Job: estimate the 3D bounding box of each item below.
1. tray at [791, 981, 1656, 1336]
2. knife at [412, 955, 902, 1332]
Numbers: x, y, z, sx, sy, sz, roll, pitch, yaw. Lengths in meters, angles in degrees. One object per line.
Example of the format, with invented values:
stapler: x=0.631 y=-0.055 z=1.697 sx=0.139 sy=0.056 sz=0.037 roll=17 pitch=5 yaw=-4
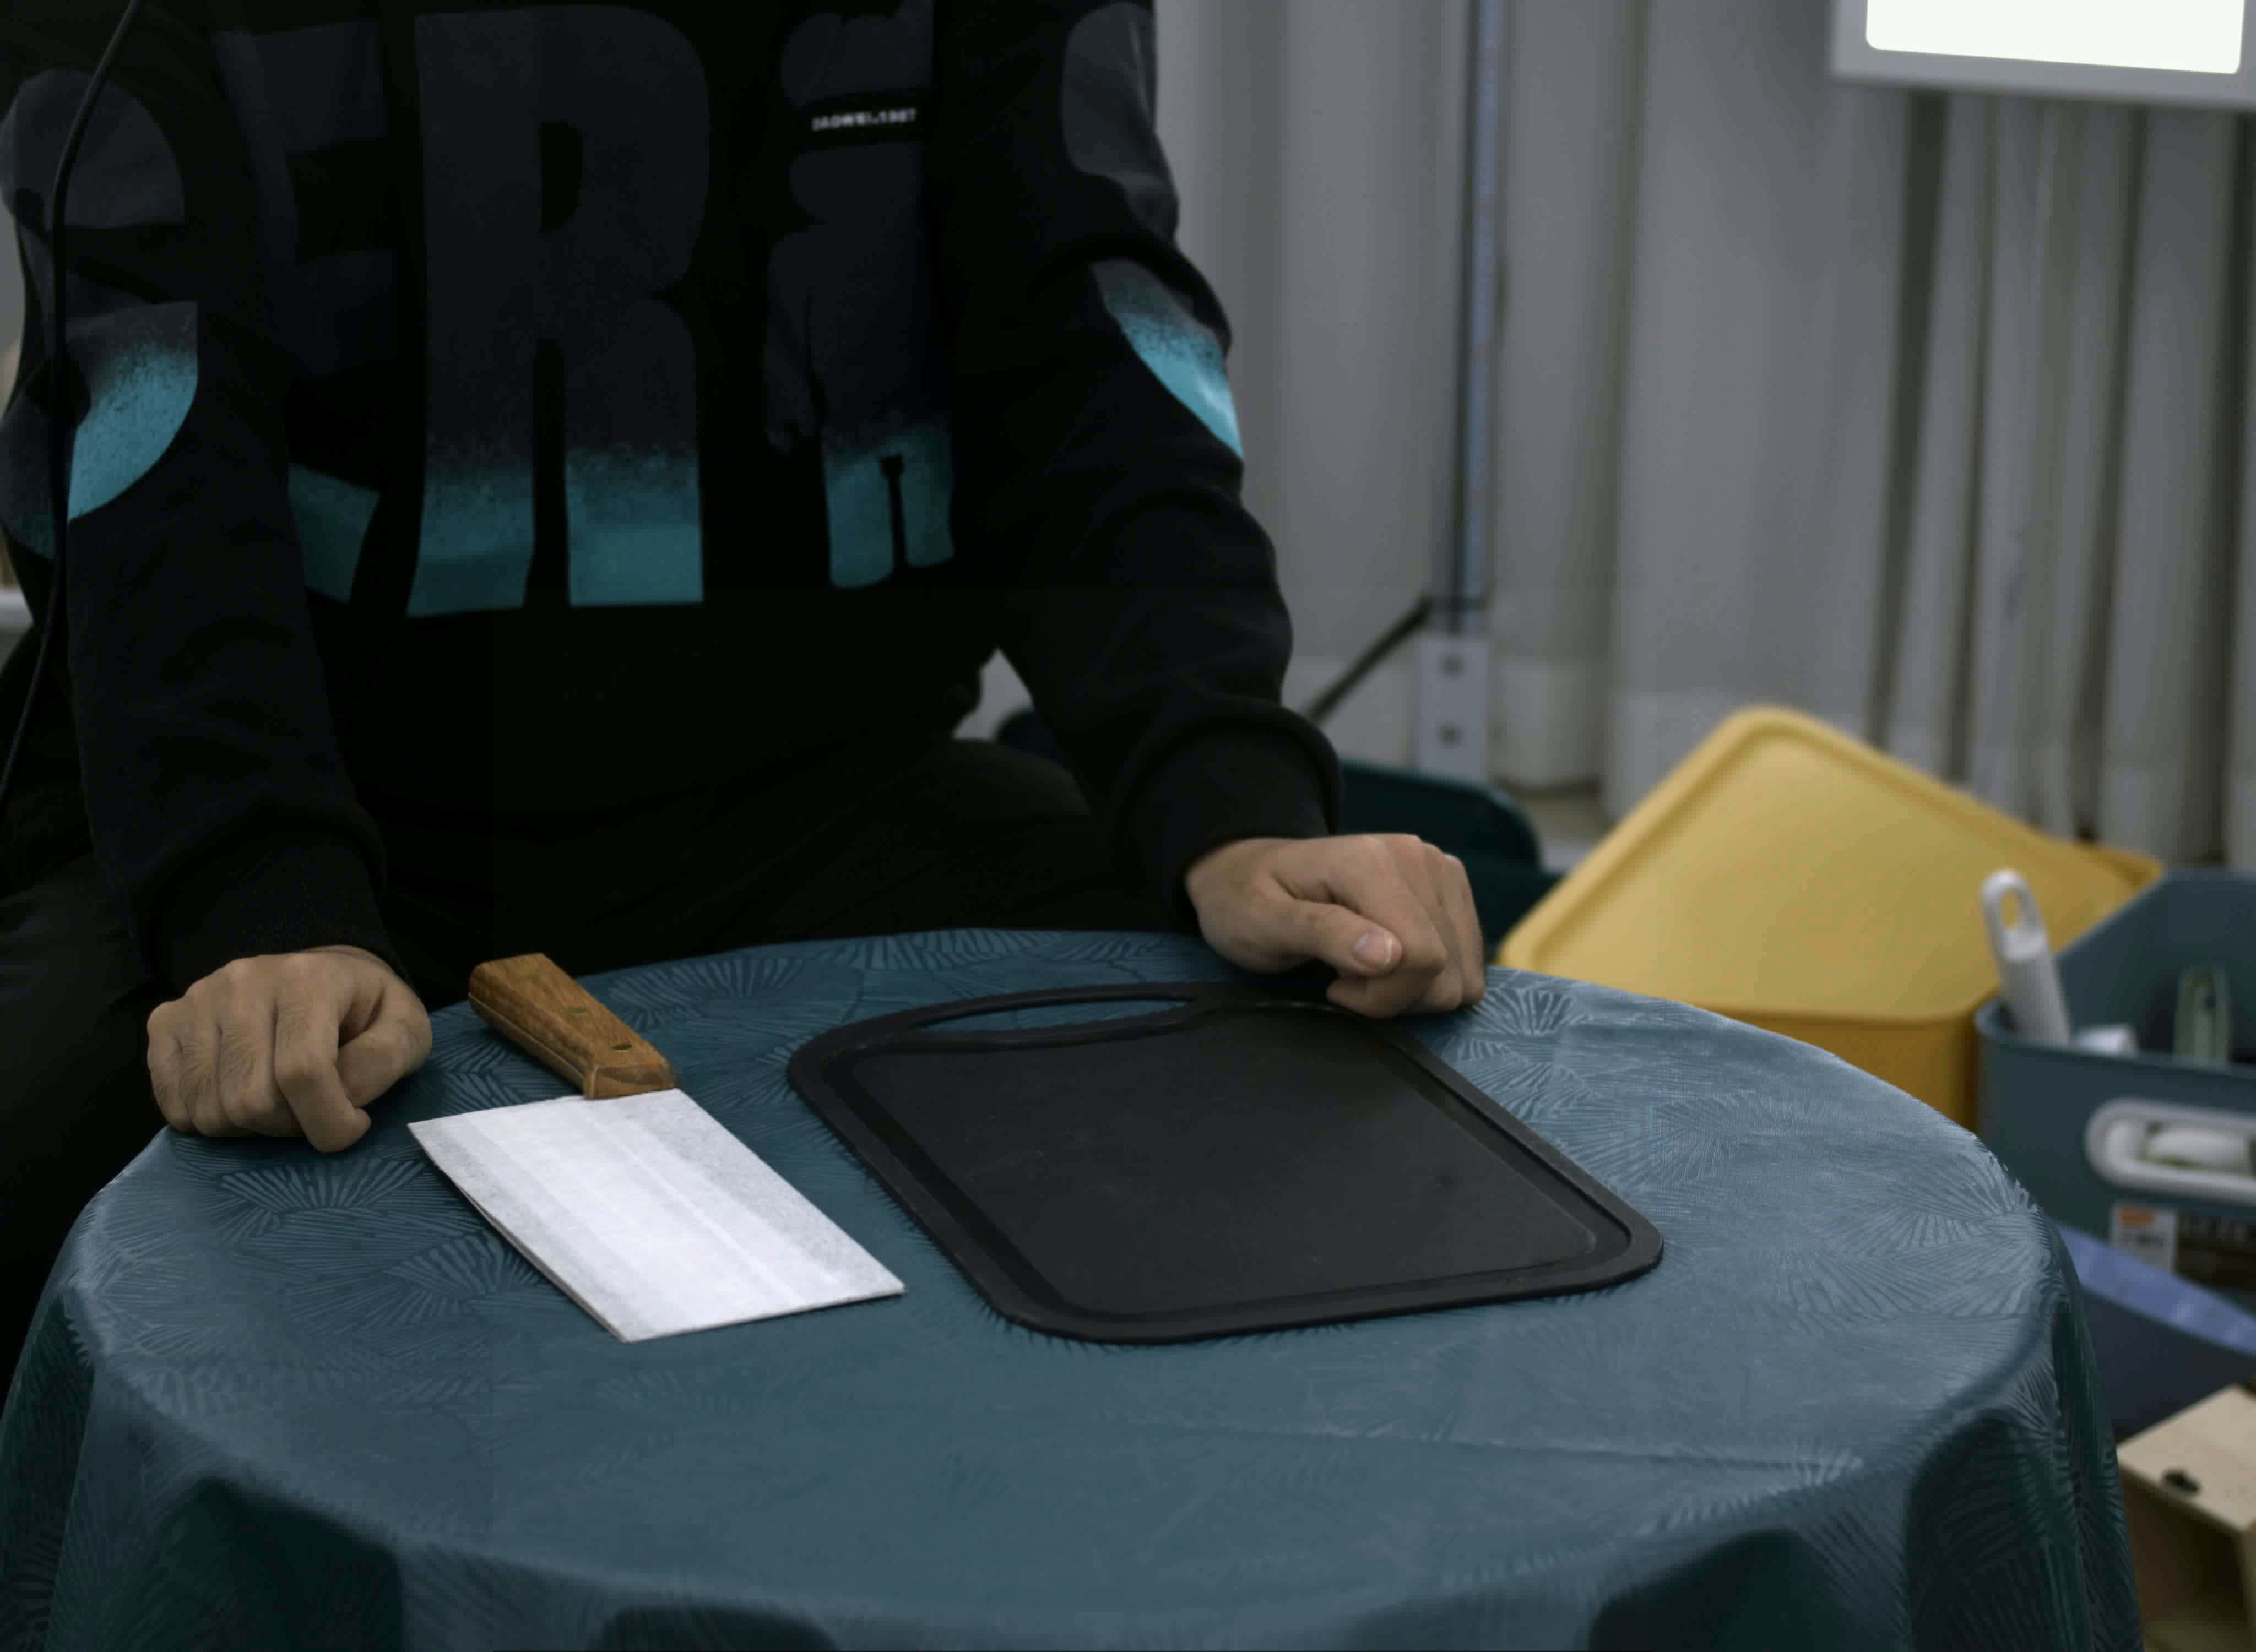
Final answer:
tray: x=0.020 y=0.097 z=1.664 sx=0.211 sy=0.010 sz=0.322 roll=-5 pitch=17 yaw=-18
knife: x=-0.169 y=0.098 z=1.641 sx=0.093 sy=0.021 sz=0.302 roll=-9 pitch=20 yaw=-25
